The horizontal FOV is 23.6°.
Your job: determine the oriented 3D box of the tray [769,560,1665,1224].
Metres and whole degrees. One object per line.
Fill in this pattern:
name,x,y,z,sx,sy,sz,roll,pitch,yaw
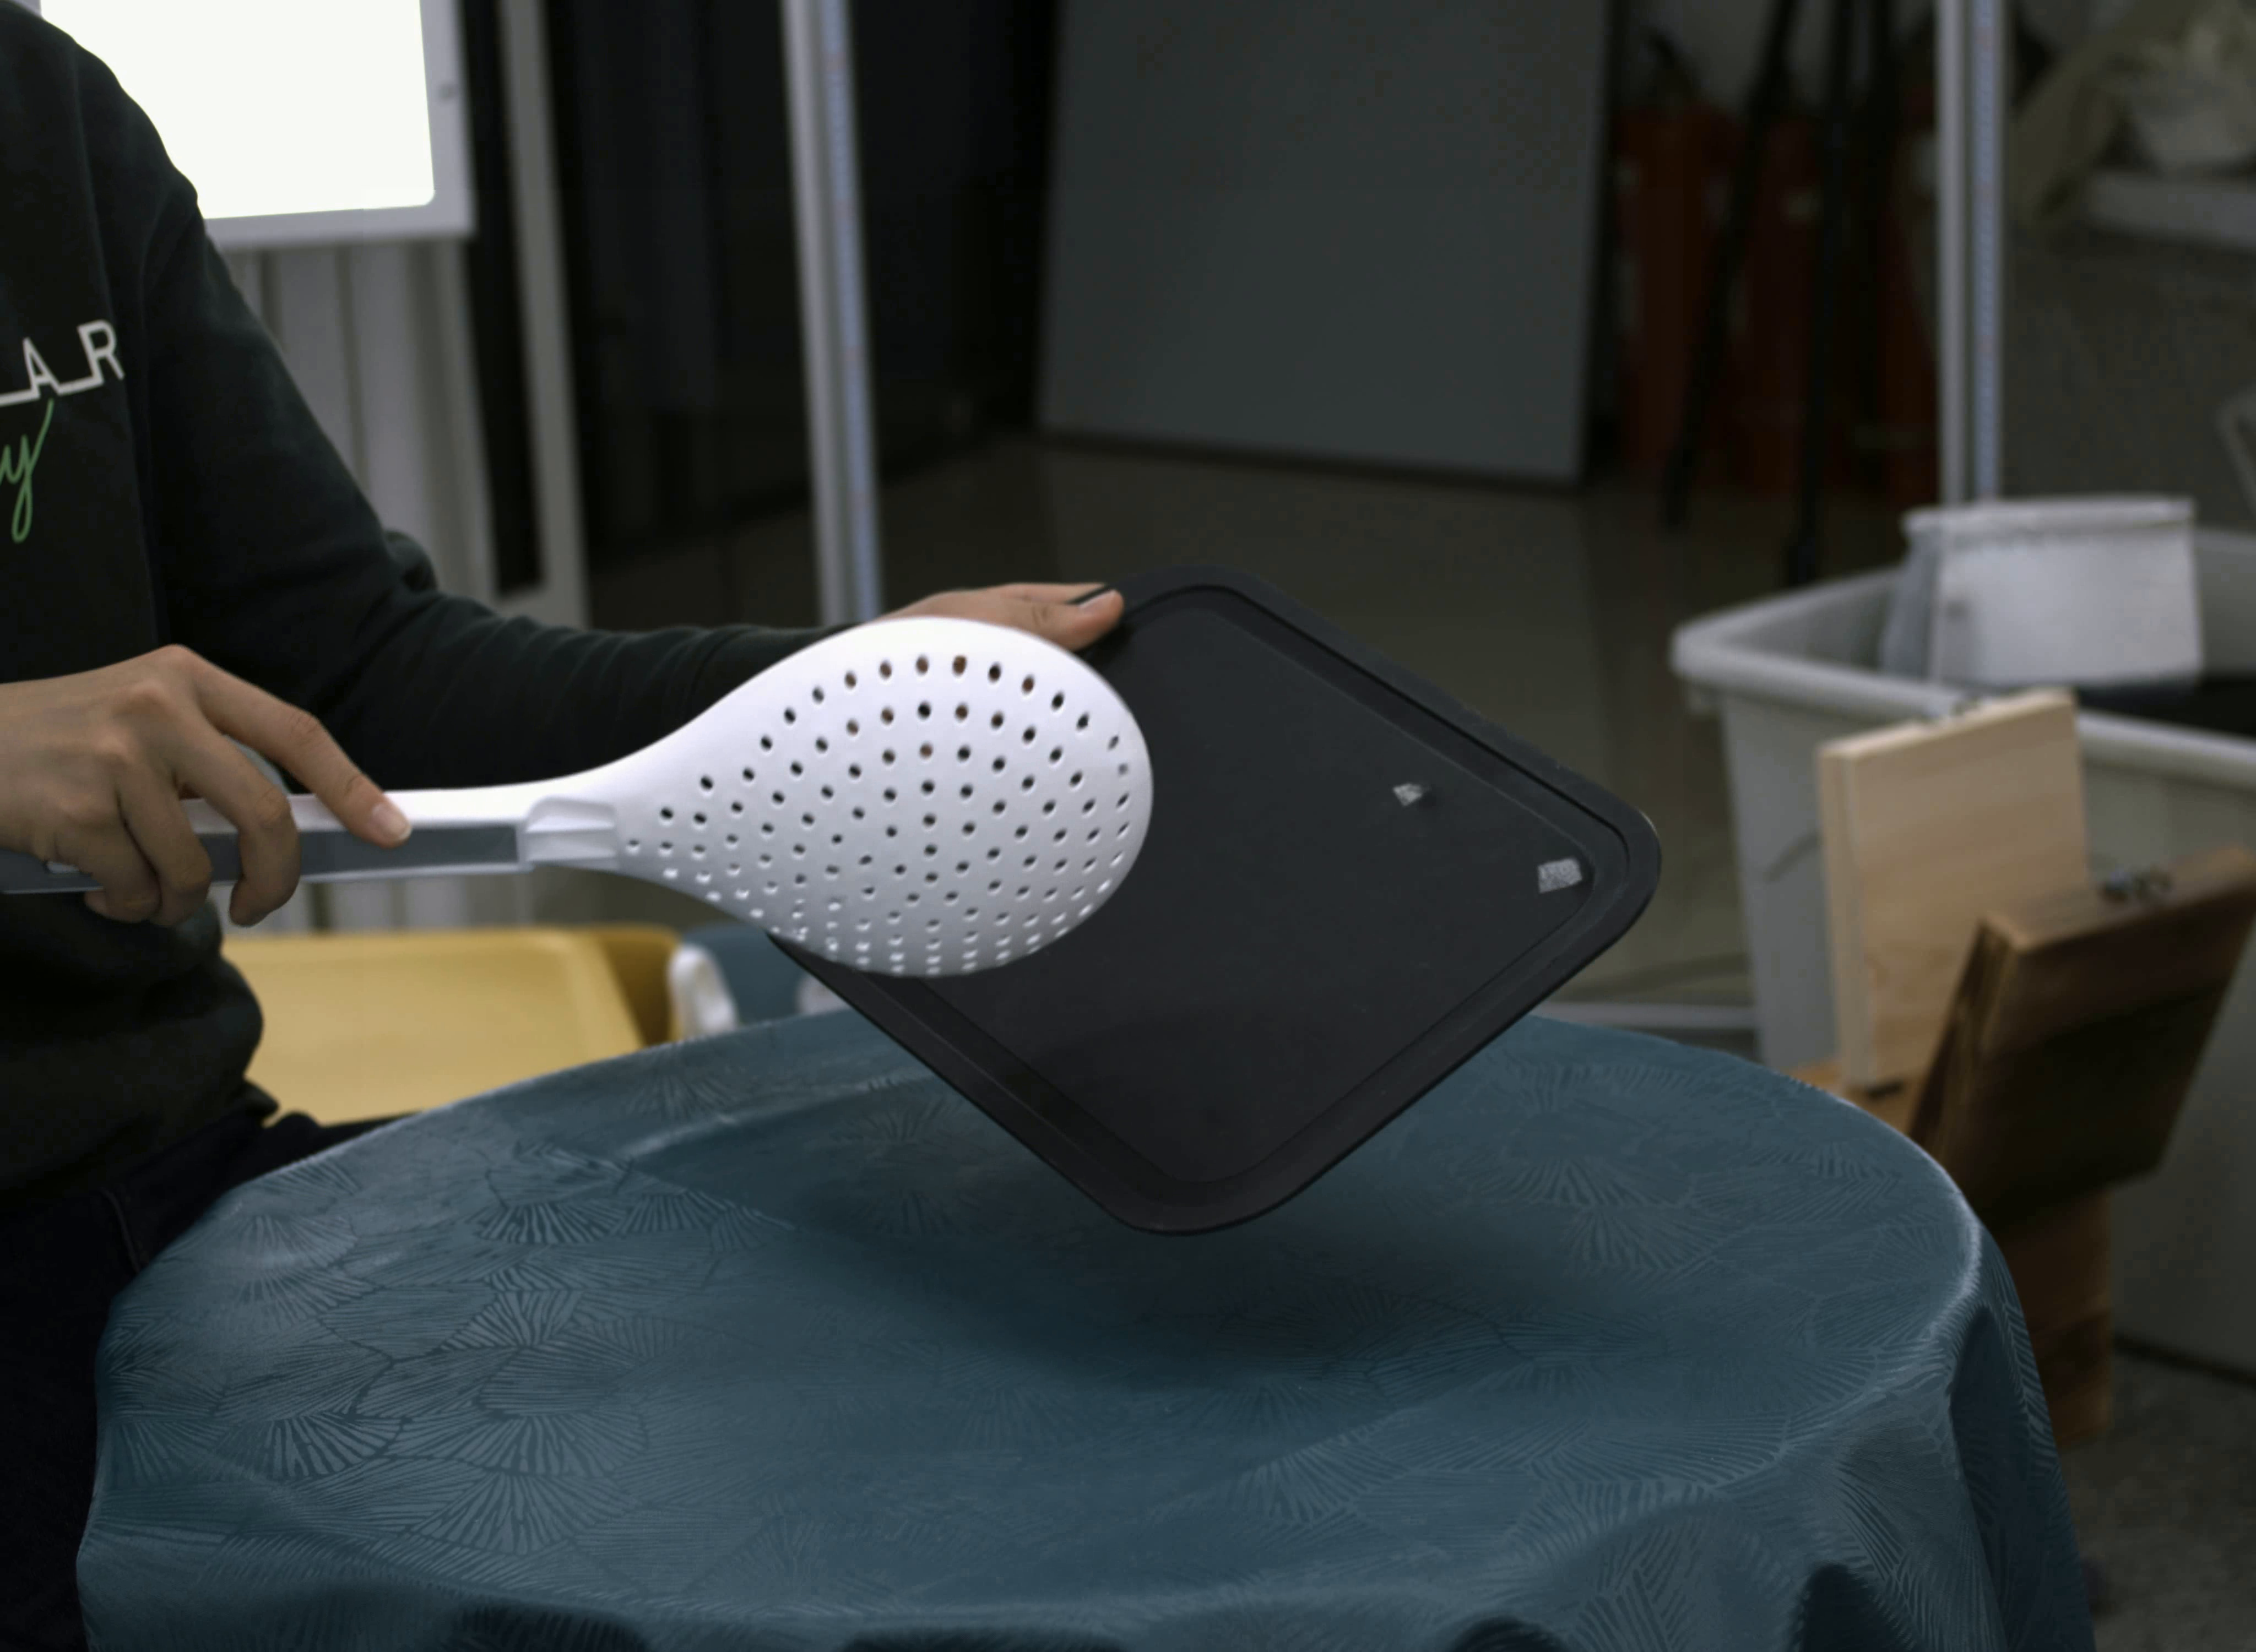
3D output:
tray,0.015,0.011,1.717,0.209,0.010,0.329,-38,36,-13

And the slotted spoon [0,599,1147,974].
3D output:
slotted spoon,-0.167,-0.001,1.624,0.345,0.137,0.046,0,36,3
